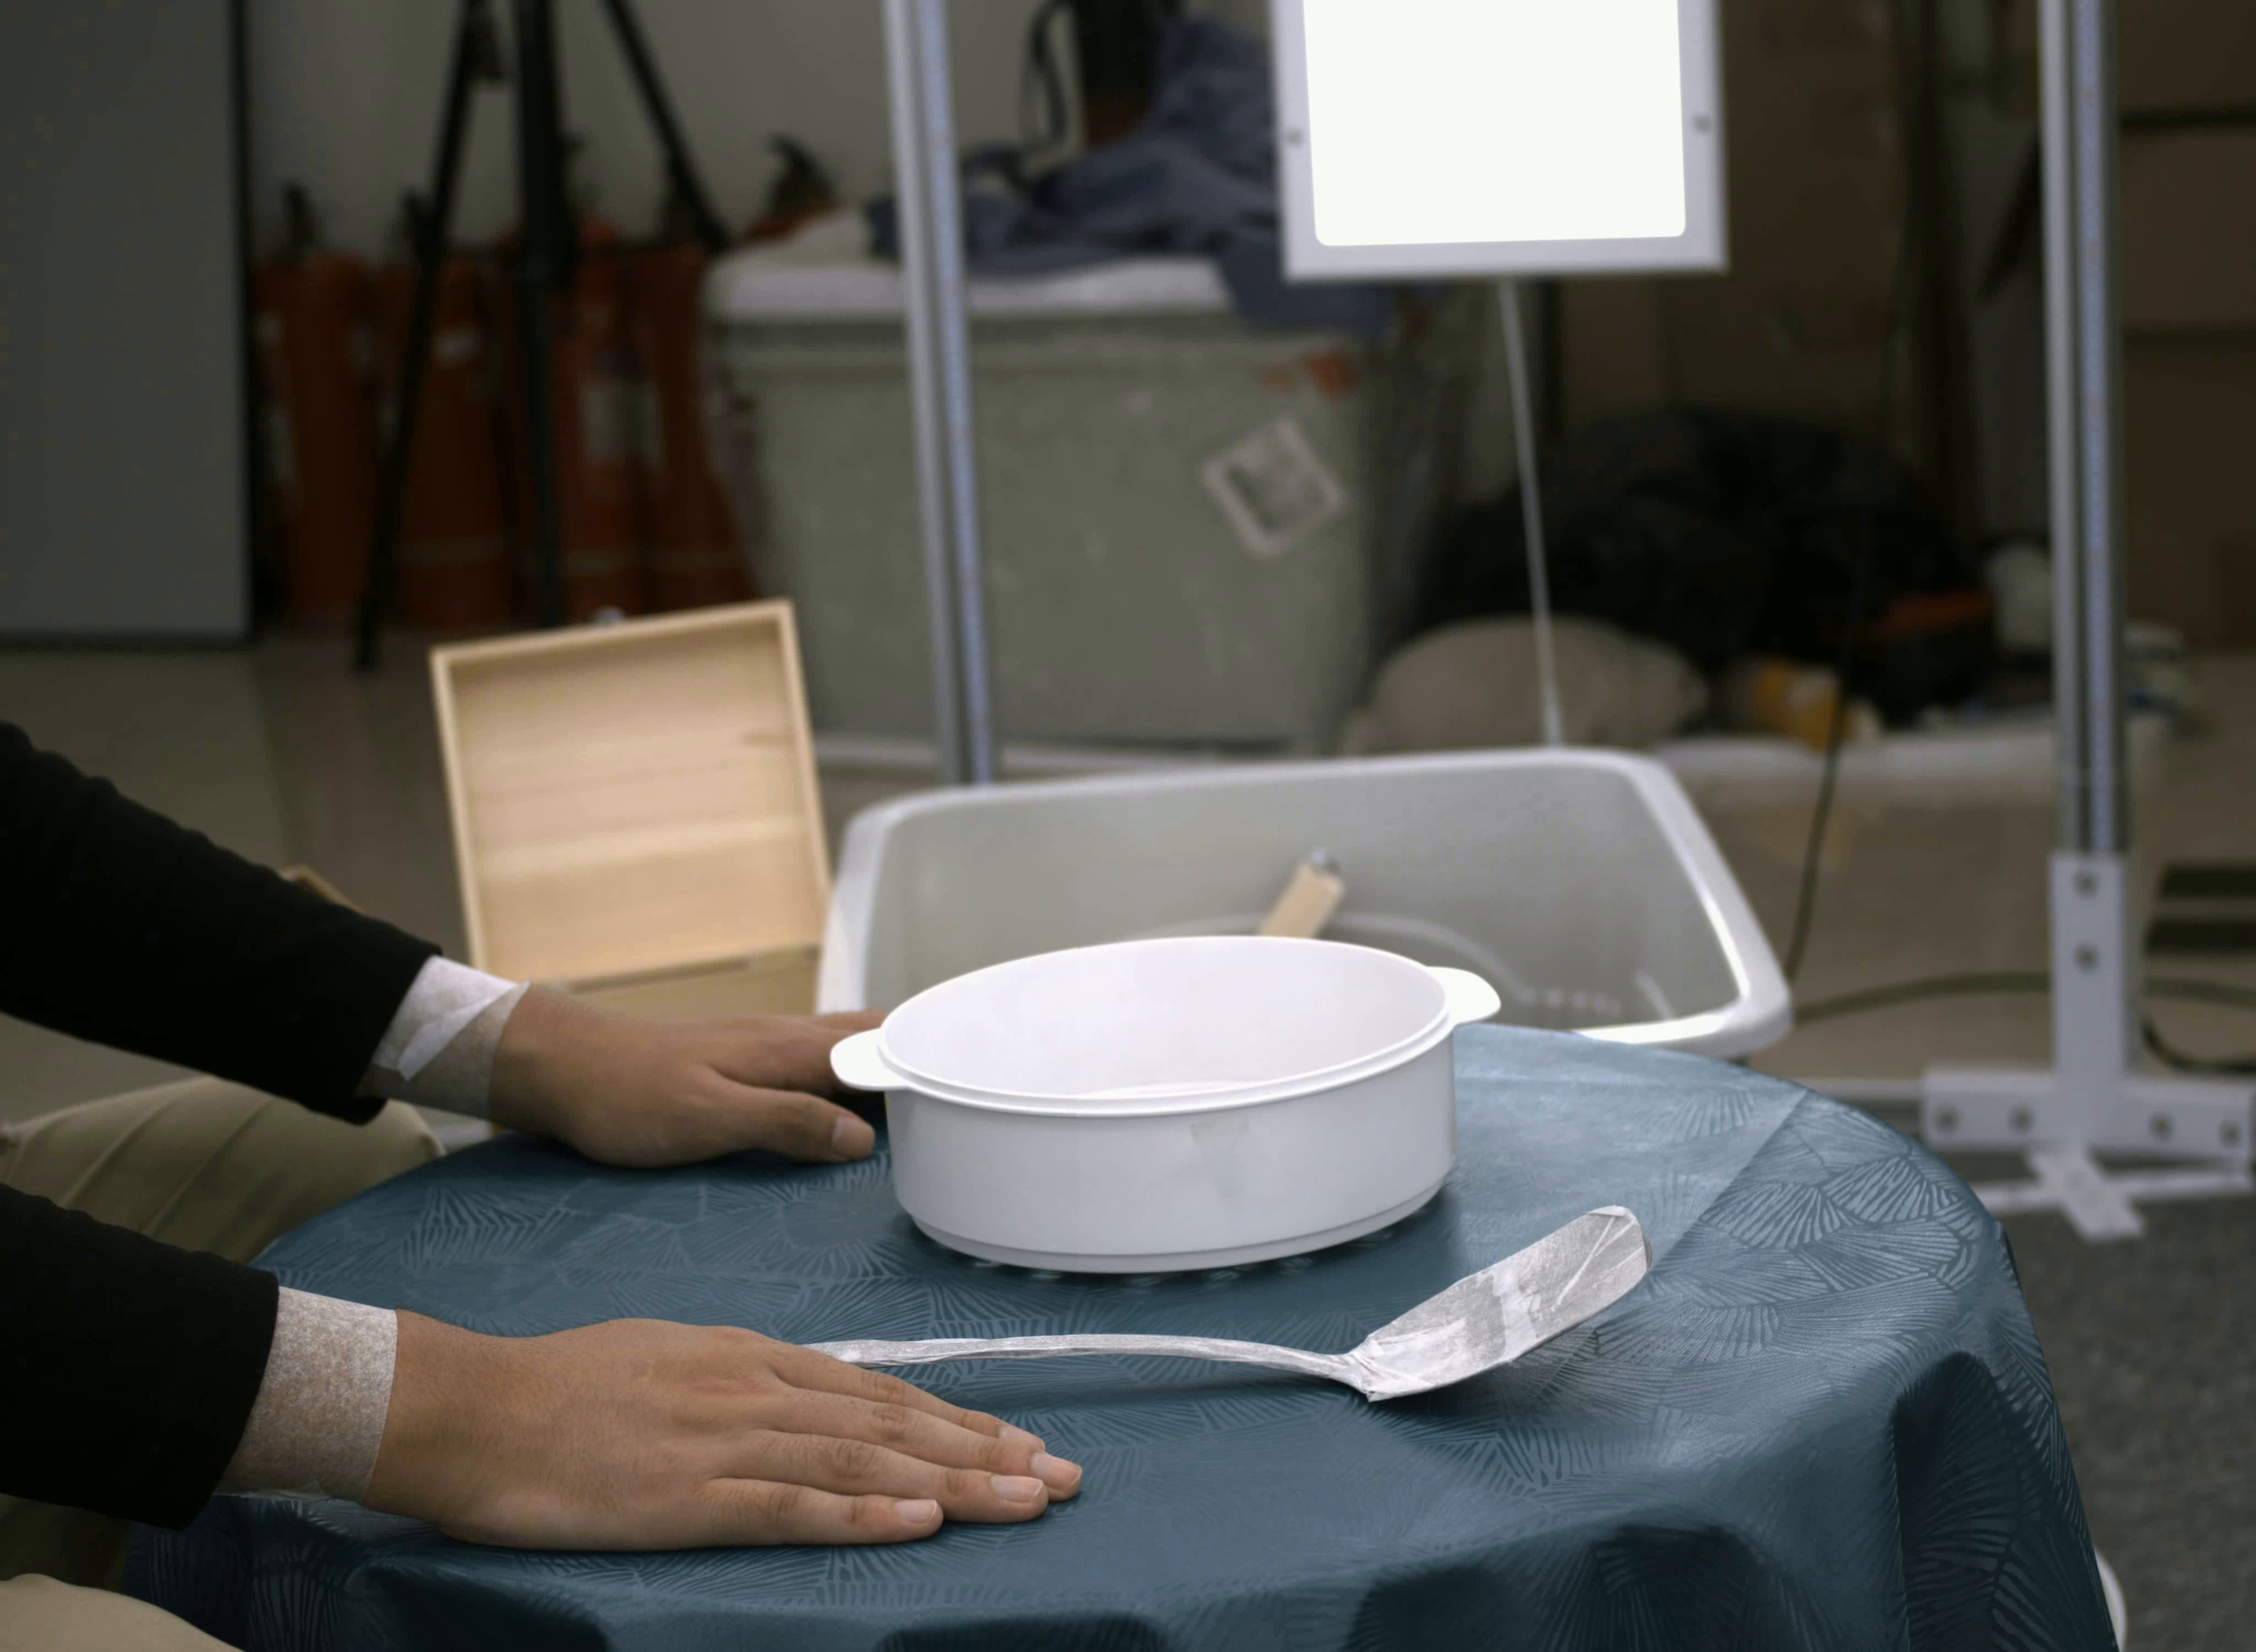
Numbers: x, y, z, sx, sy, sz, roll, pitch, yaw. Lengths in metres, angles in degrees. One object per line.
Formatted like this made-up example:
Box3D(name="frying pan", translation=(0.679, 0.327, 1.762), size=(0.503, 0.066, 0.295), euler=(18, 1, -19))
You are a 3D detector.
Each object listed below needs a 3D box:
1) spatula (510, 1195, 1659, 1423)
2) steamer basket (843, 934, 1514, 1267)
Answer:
Box3D(name="spatula", translation=(-0.017, 0.157, 1.703), size=(0.366, 0.045, 0.098), euler=(-3, 16, 7))
Box3D(name="steamer basket", translation=(0.020, 0.094, 1.877), size=(0.229, 0.069, 0.202), euler=(-7, 13, -5))
